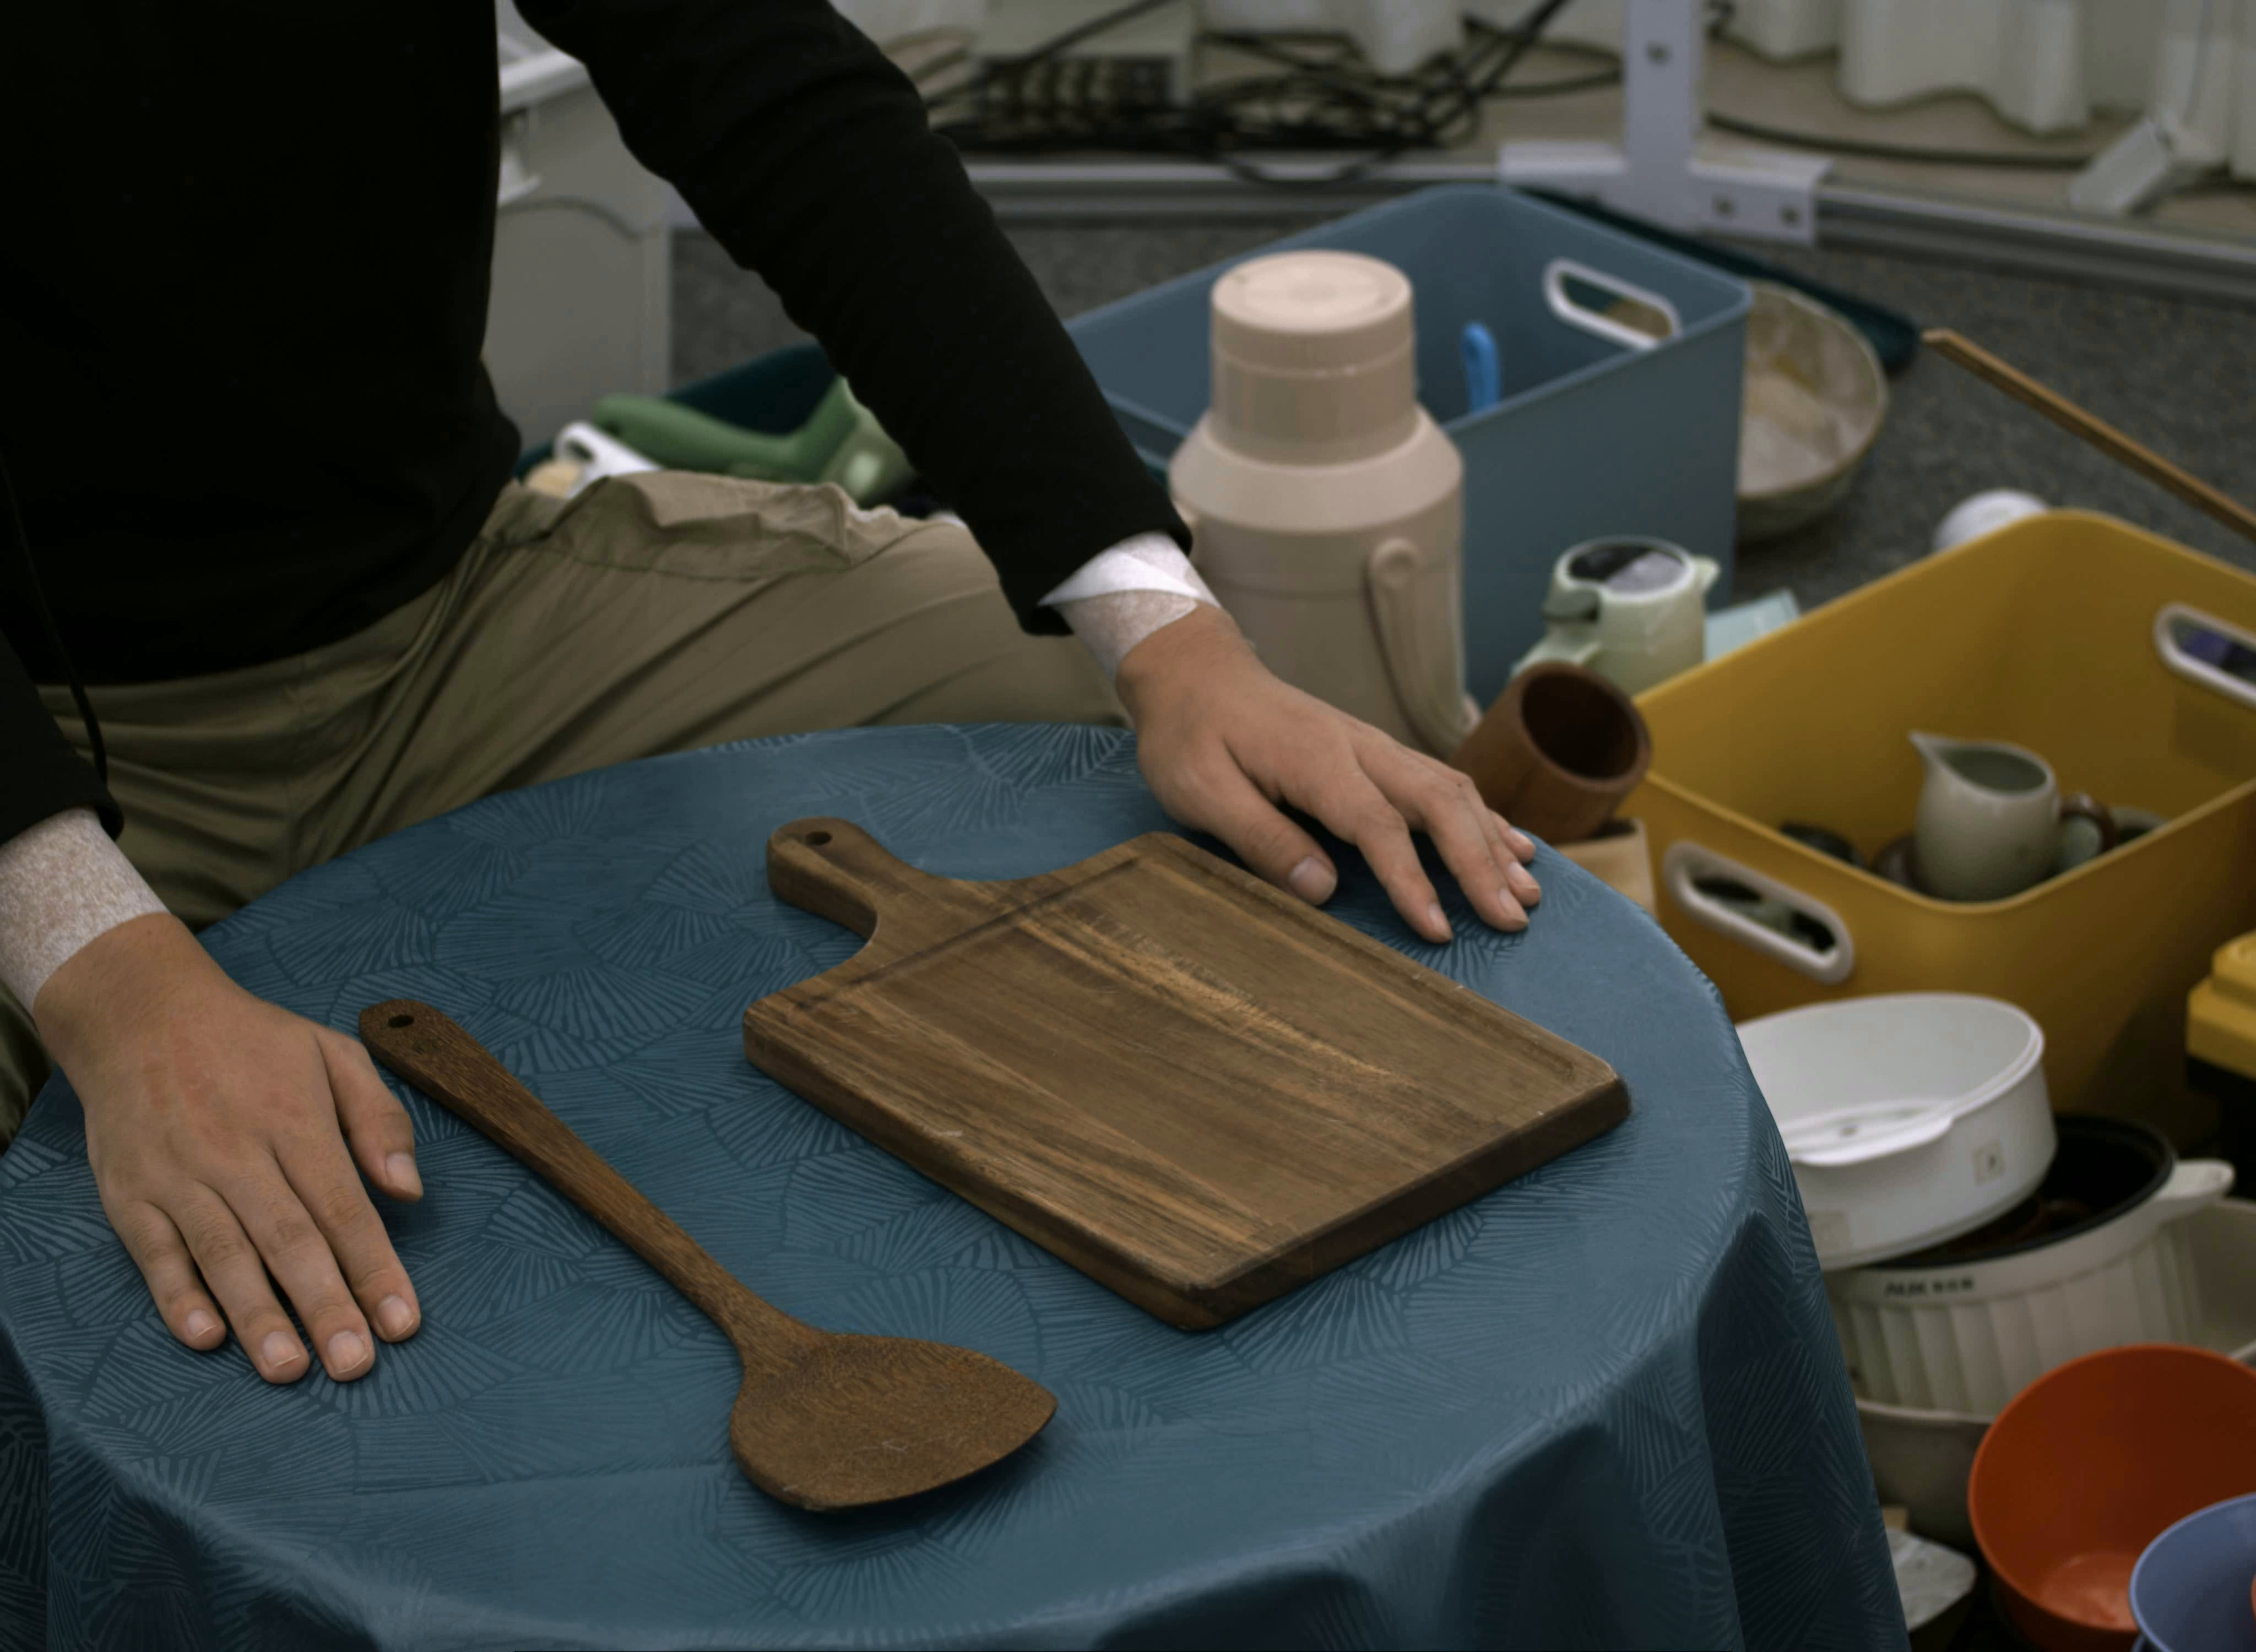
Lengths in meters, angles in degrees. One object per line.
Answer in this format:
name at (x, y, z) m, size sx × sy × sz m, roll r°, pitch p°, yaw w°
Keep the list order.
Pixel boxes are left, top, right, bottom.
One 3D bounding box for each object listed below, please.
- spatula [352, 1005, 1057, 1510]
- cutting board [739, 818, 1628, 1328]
spatula at (-0.160, 0.132, 1.840) m, size 0.097 × 0.015 × 0.387 m, roll -19°, pitch 31°, yaw -29°
cutting board at (-0.015, 0.065, 1.950) m, size 0.203 × 0.023 × 0.352 m, roll -23°, pitch 33°, yaw -34°
